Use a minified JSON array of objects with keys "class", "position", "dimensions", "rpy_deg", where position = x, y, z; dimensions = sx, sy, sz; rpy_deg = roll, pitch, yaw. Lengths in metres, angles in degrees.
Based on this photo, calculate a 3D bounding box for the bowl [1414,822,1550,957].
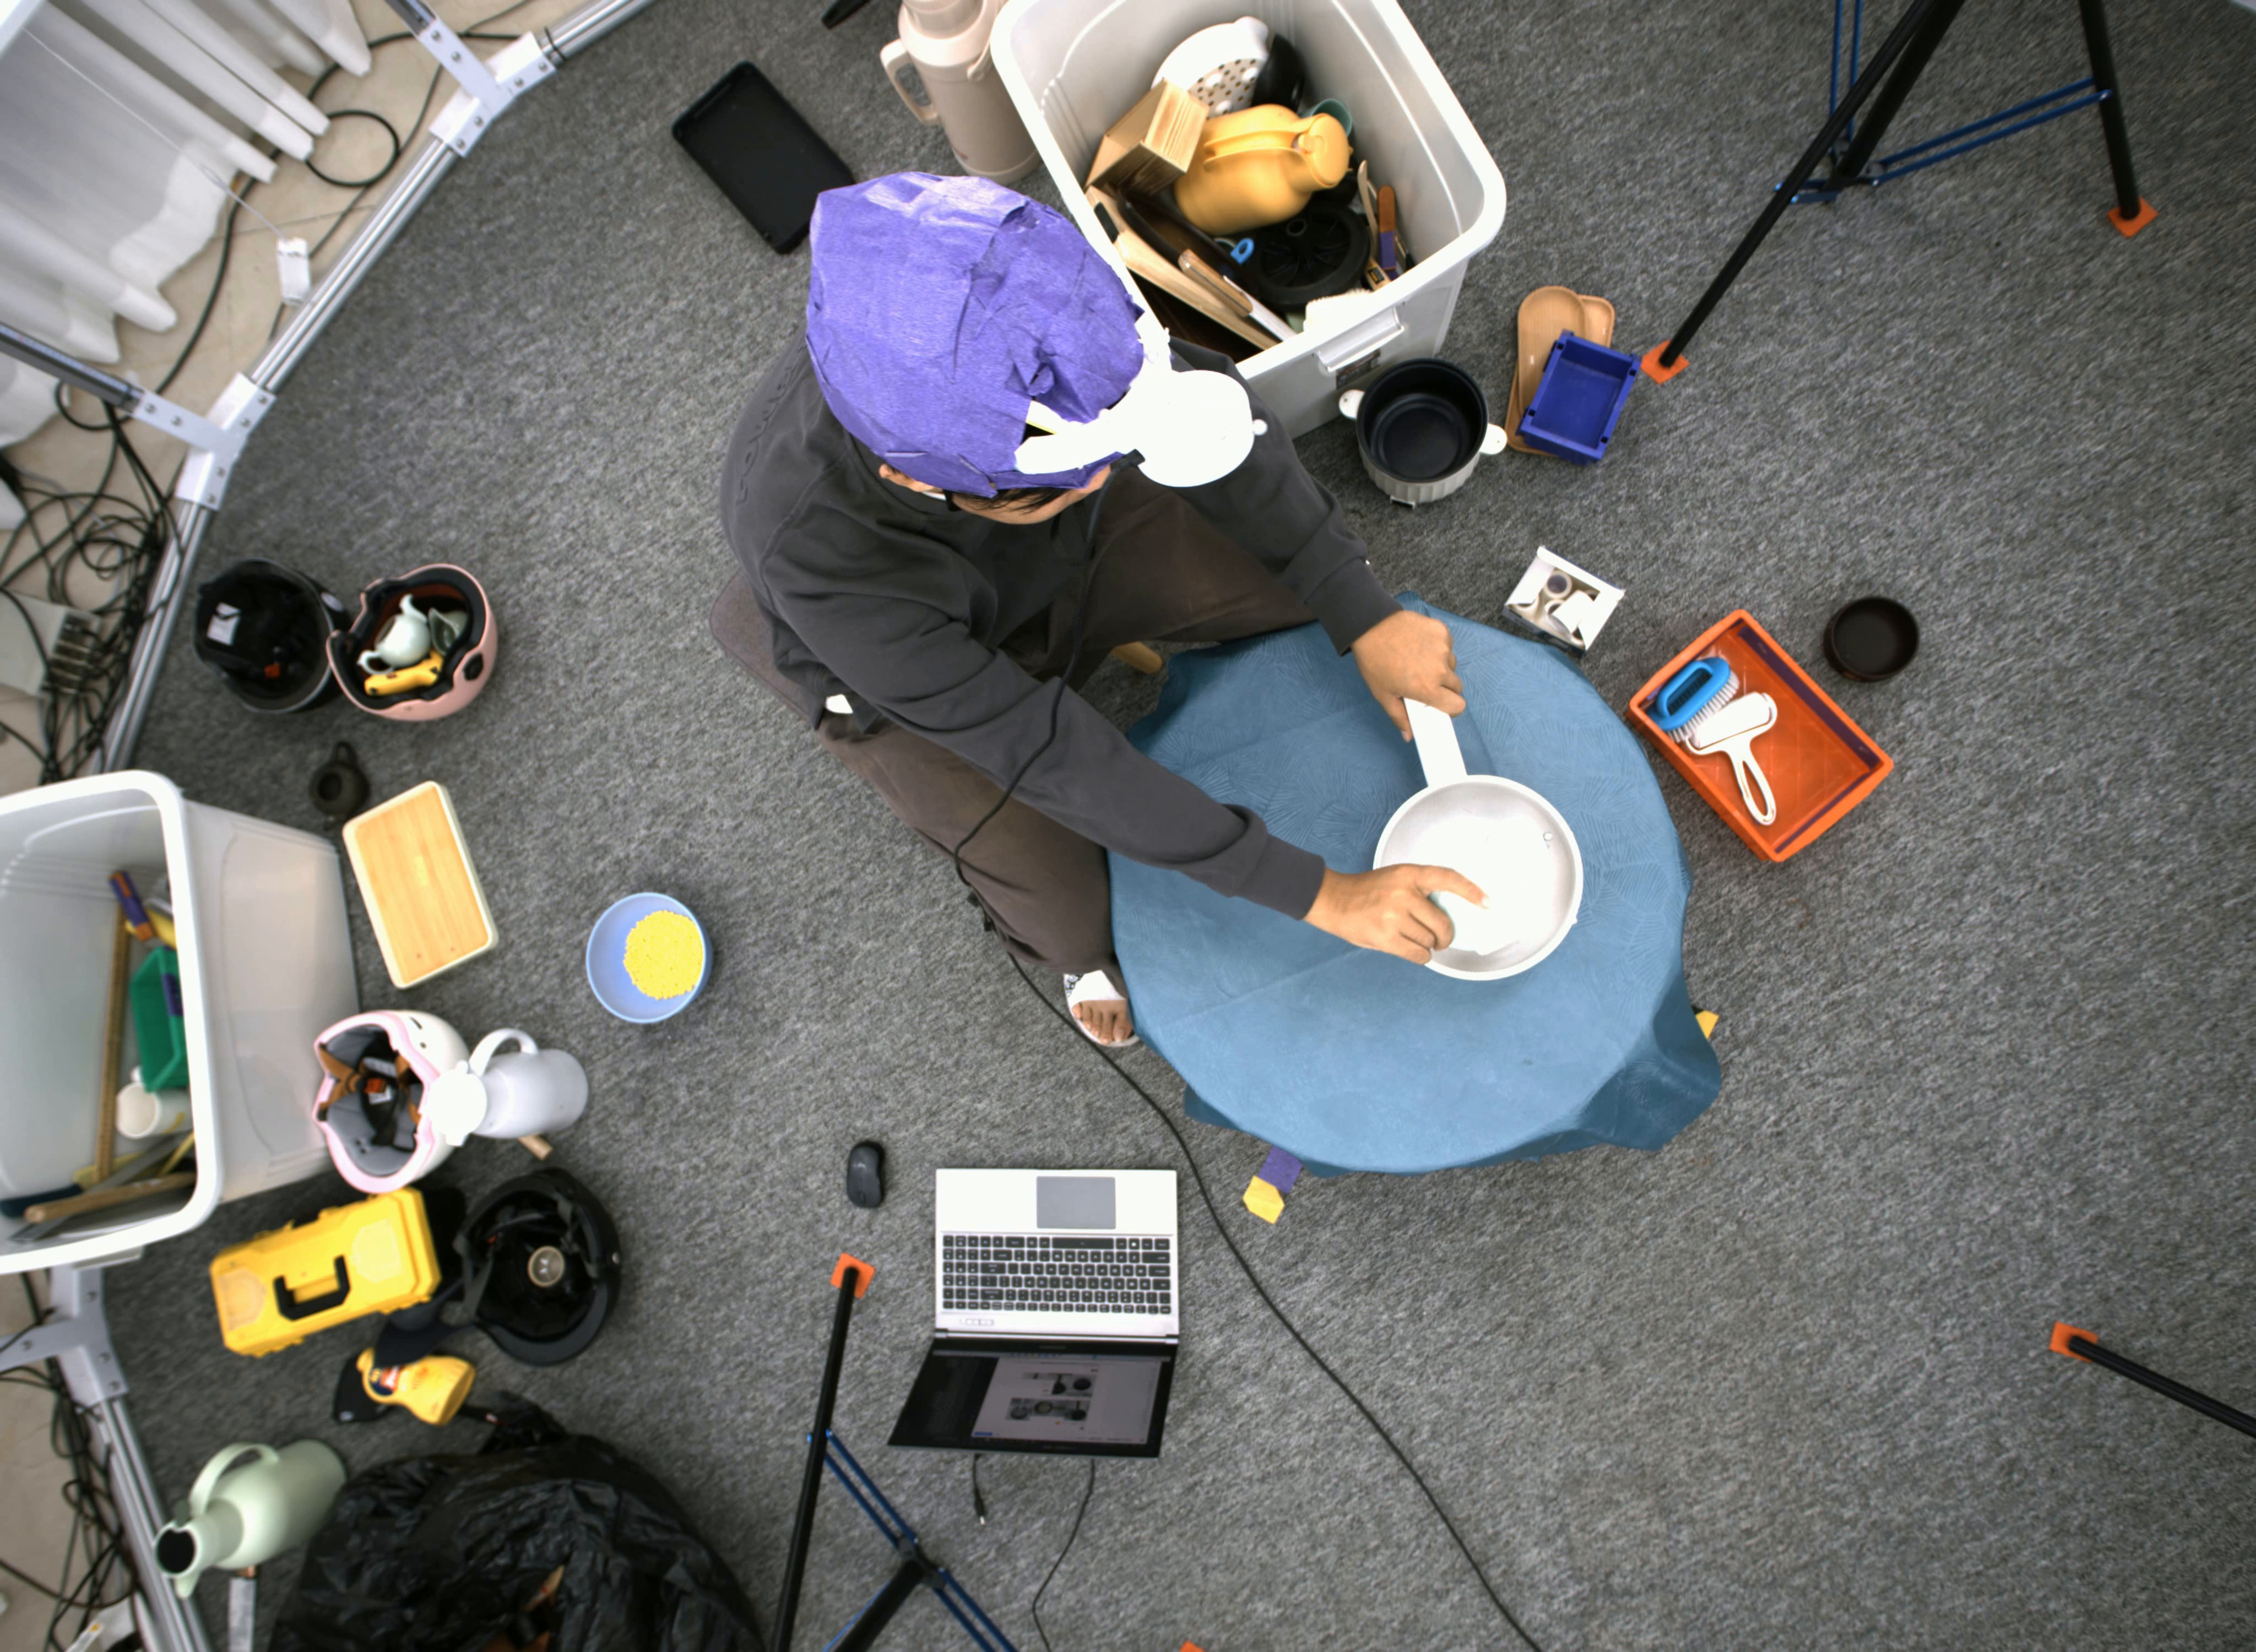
[{"class":"bowl","position":[0.341,0.067,1.283],"dimensions":[0.152,0.153,0.057],"rpy_deg":[-37,56,6]}]

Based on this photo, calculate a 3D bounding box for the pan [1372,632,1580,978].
[{"class":"pan","position":[0.333,-0.020,1.410],"dimensions":[0.202,0.102,0.352],"rpy_deg":[-16,82,12]}]
